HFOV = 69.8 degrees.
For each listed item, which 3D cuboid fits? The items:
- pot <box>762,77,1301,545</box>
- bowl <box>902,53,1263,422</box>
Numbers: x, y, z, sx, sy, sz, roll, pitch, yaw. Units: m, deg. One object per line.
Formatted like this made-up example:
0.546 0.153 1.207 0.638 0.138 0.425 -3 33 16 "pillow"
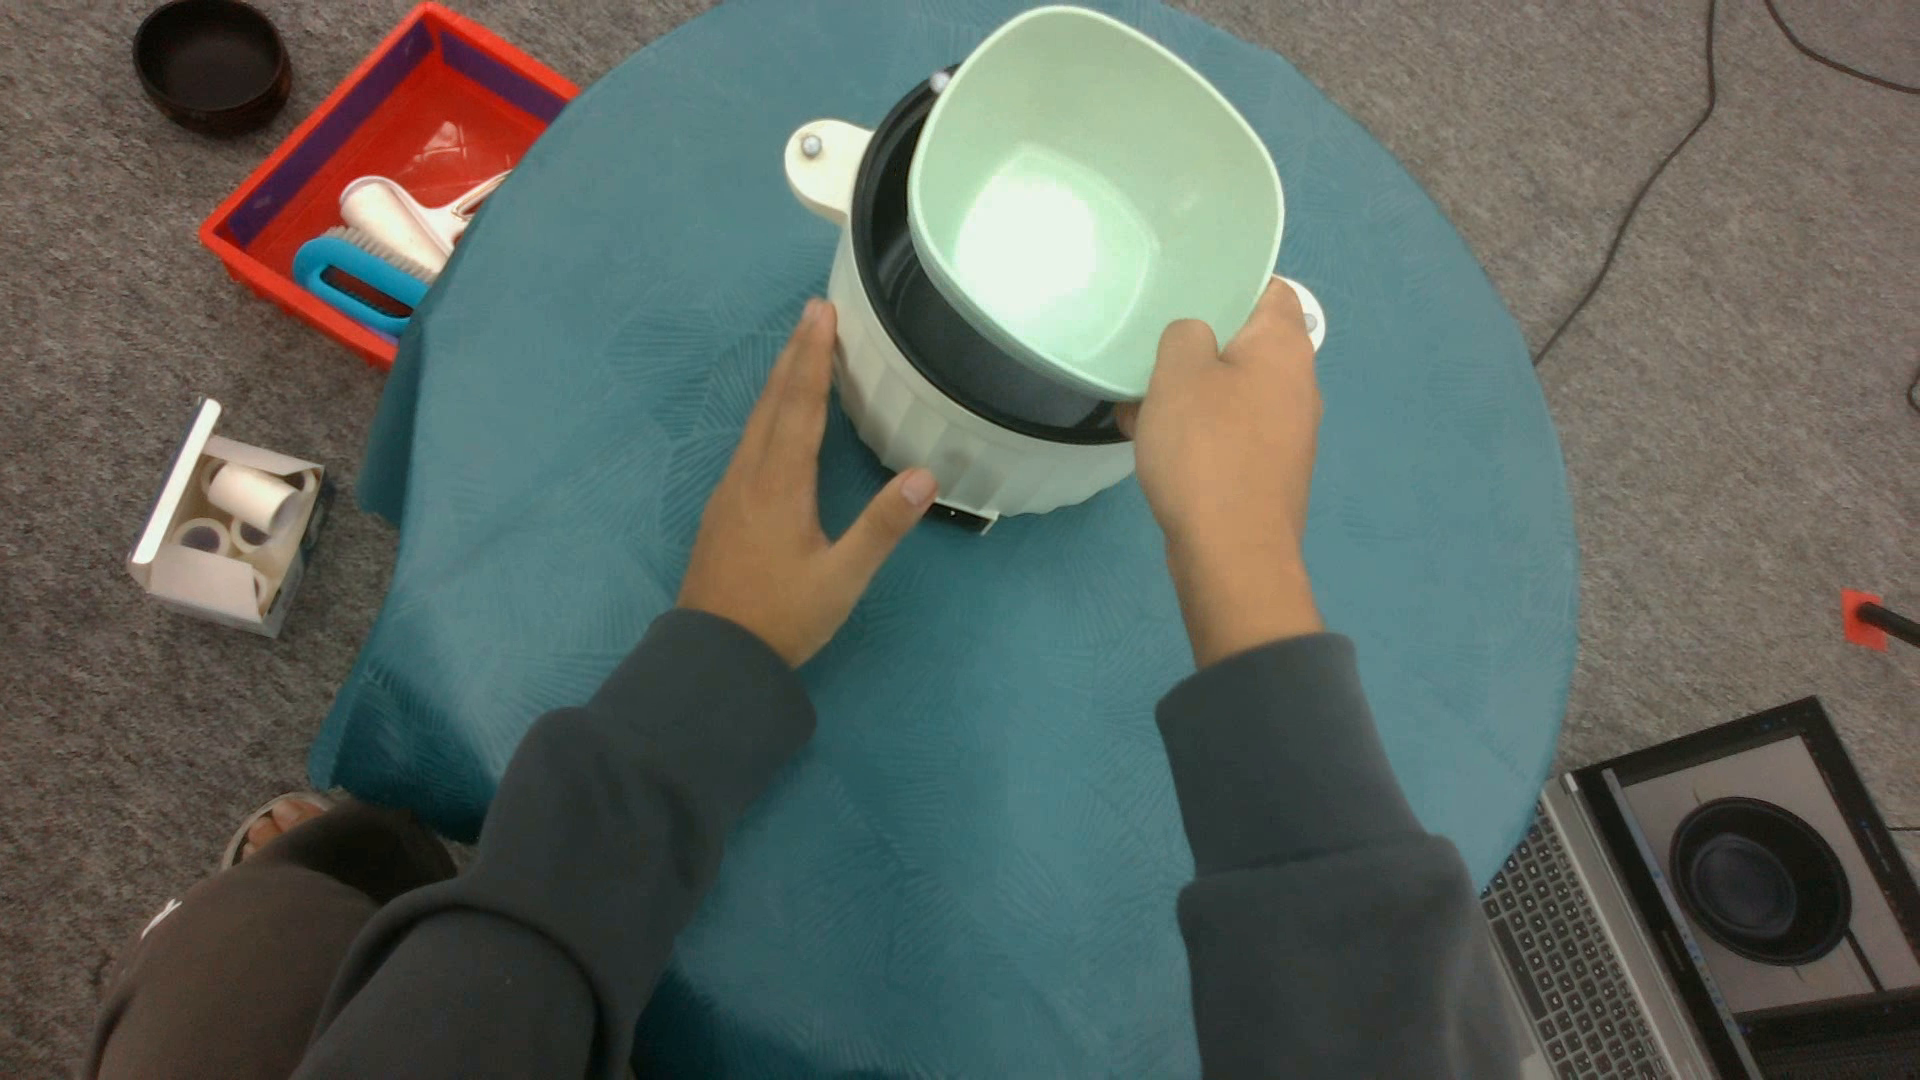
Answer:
0.021 -0.106 0.648 0.240 0.142 0.191 13 72 -10 "pot"
0.041 -0.109 0.537 0.151 0.058 0.152 6 72 -19 "bowl"
